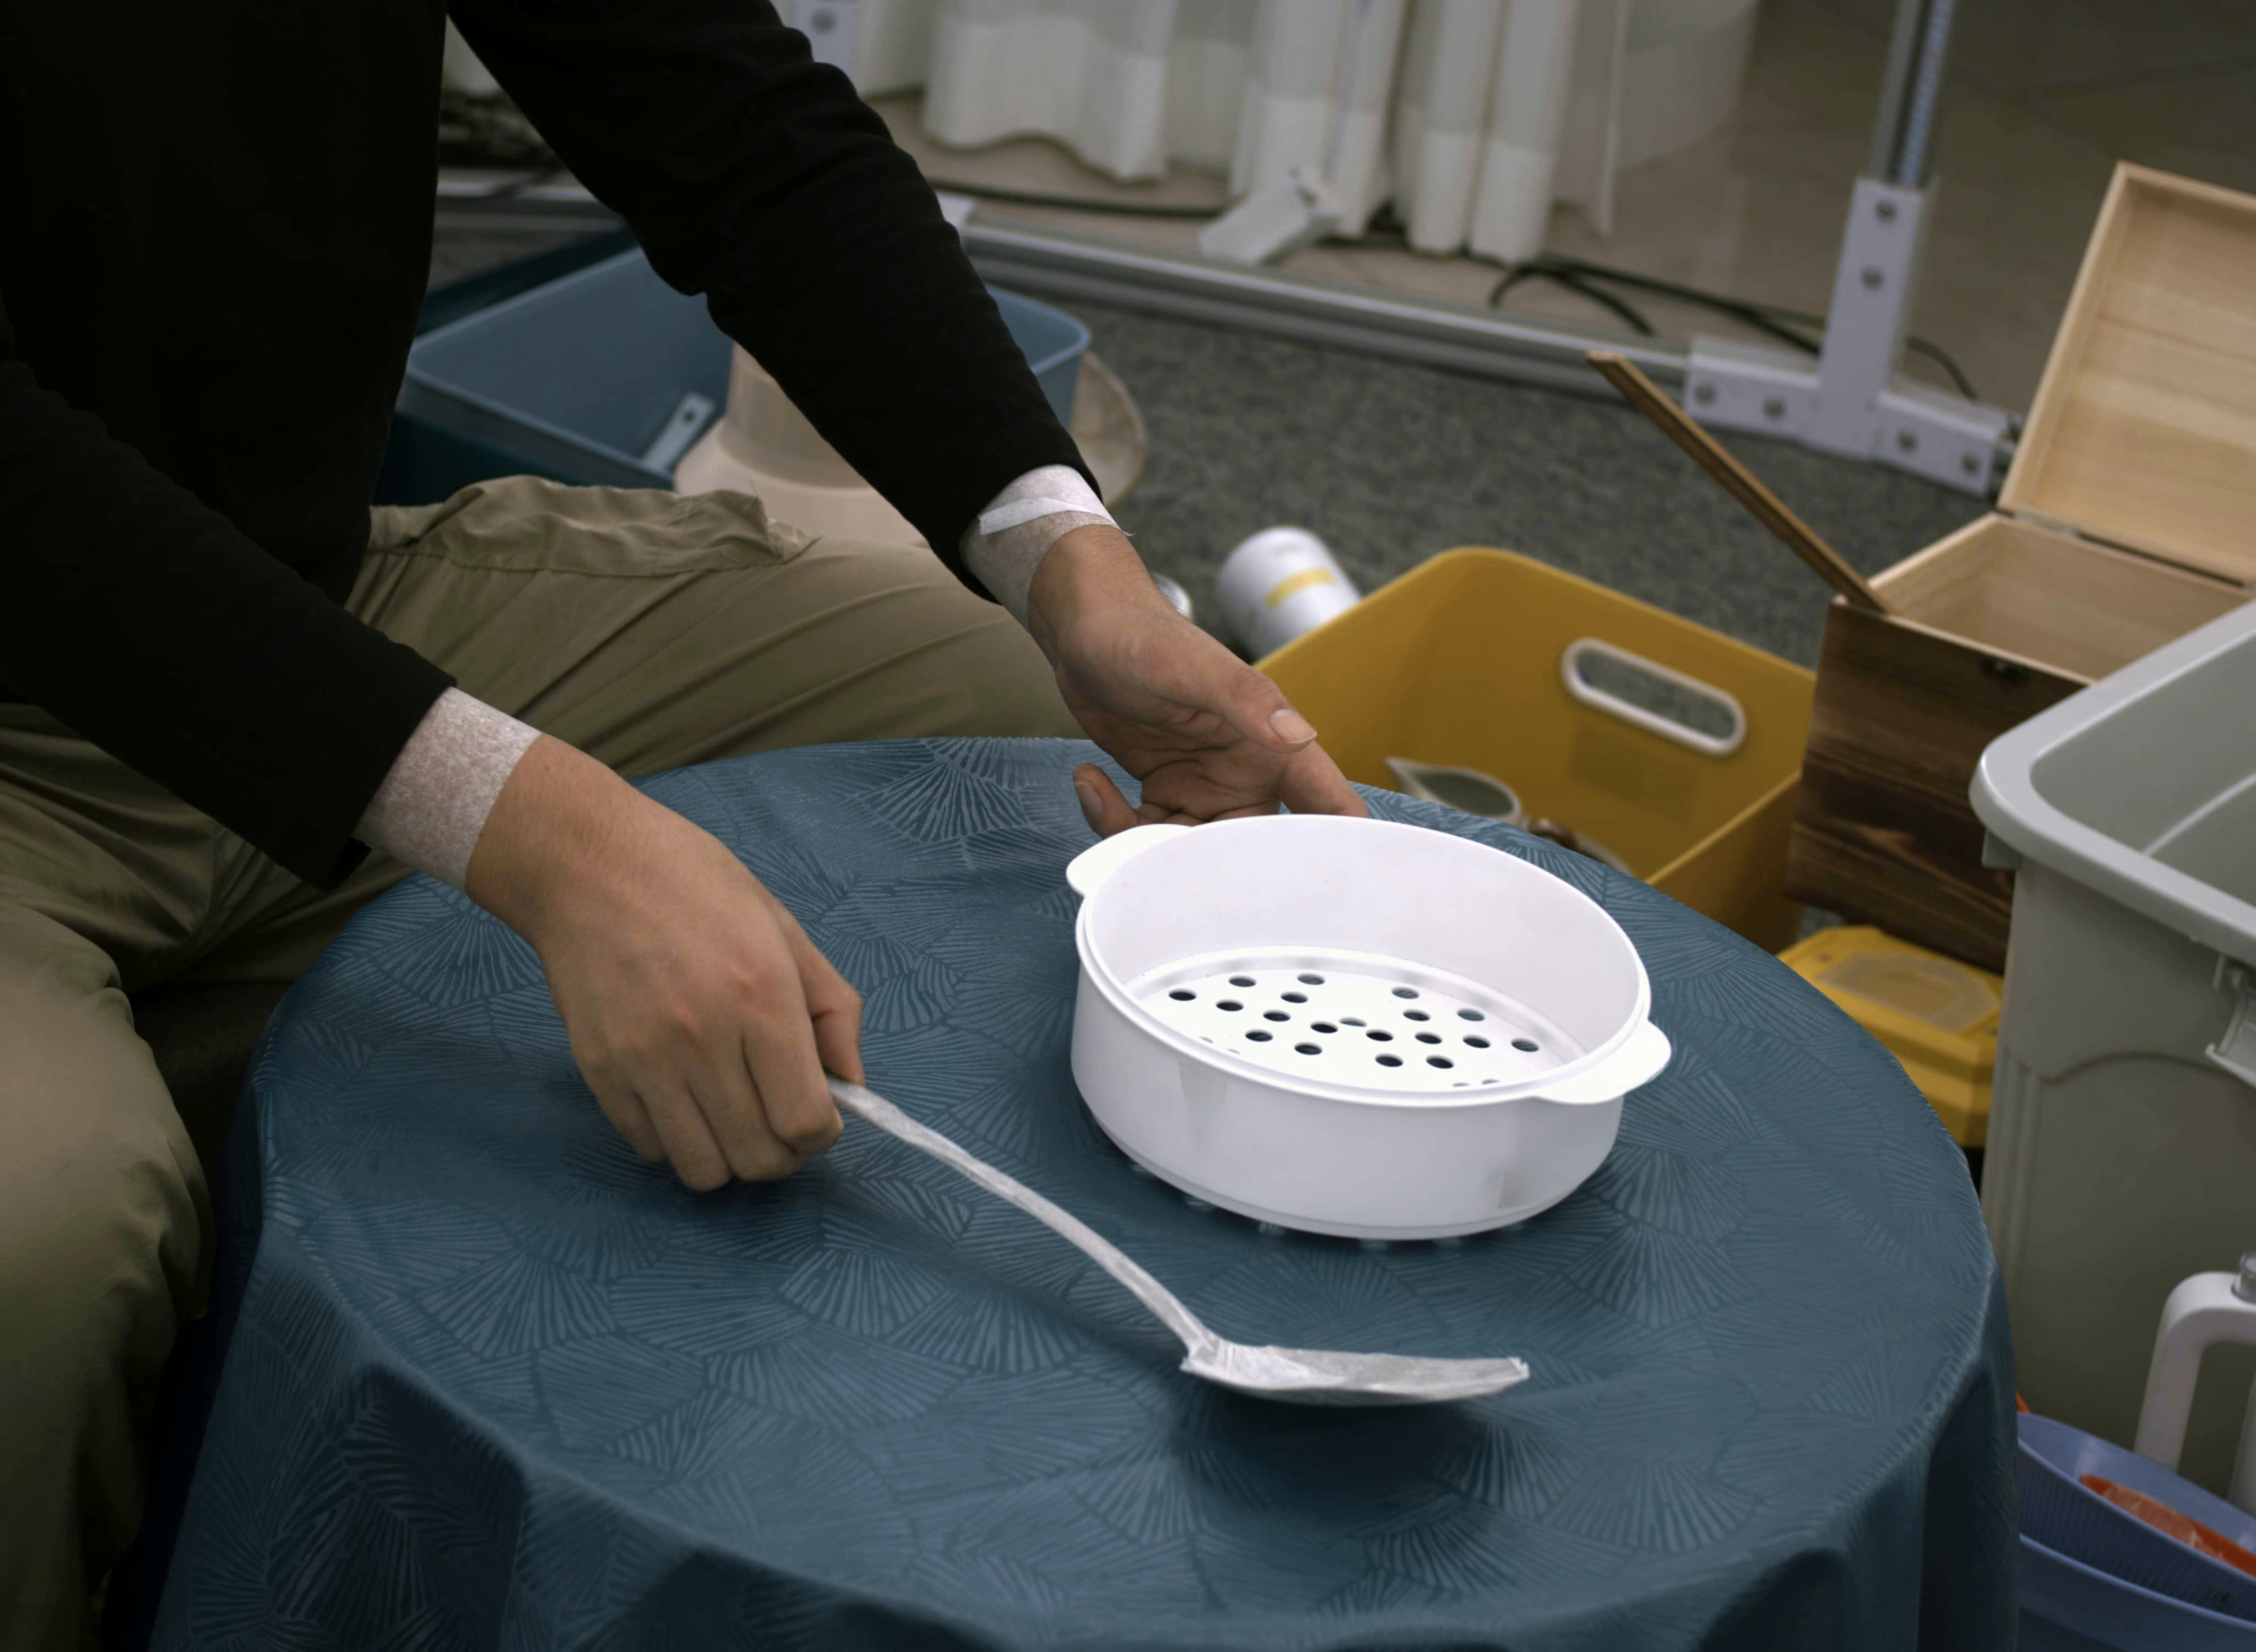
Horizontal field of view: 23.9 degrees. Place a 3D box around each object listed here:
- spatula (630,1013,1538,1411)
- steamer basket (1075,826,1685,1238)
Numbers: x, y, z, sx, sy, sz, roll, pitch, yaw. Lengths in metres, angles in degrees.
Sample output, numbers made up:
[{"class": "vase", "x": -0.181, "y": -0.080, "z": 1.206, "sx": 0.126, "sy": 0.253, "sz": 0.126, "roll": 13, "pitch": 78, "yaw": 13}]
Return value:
[{"class": "spatula", "x": -0.032, "y": 0.120, "z": 1.740, "sx": 0.367, "sy": 0.045, "sz": 0.098, "roll": 28, "pitch": 18, "yaw": 31}, {"class": "steamer basket", "x": 0.082, "y": 0.072, "z": 1.846, "sx": 0.232, "sy": 0.069, "sz": 0.201, "roll": 22, "pitch": 30, "yaw": 31}]
